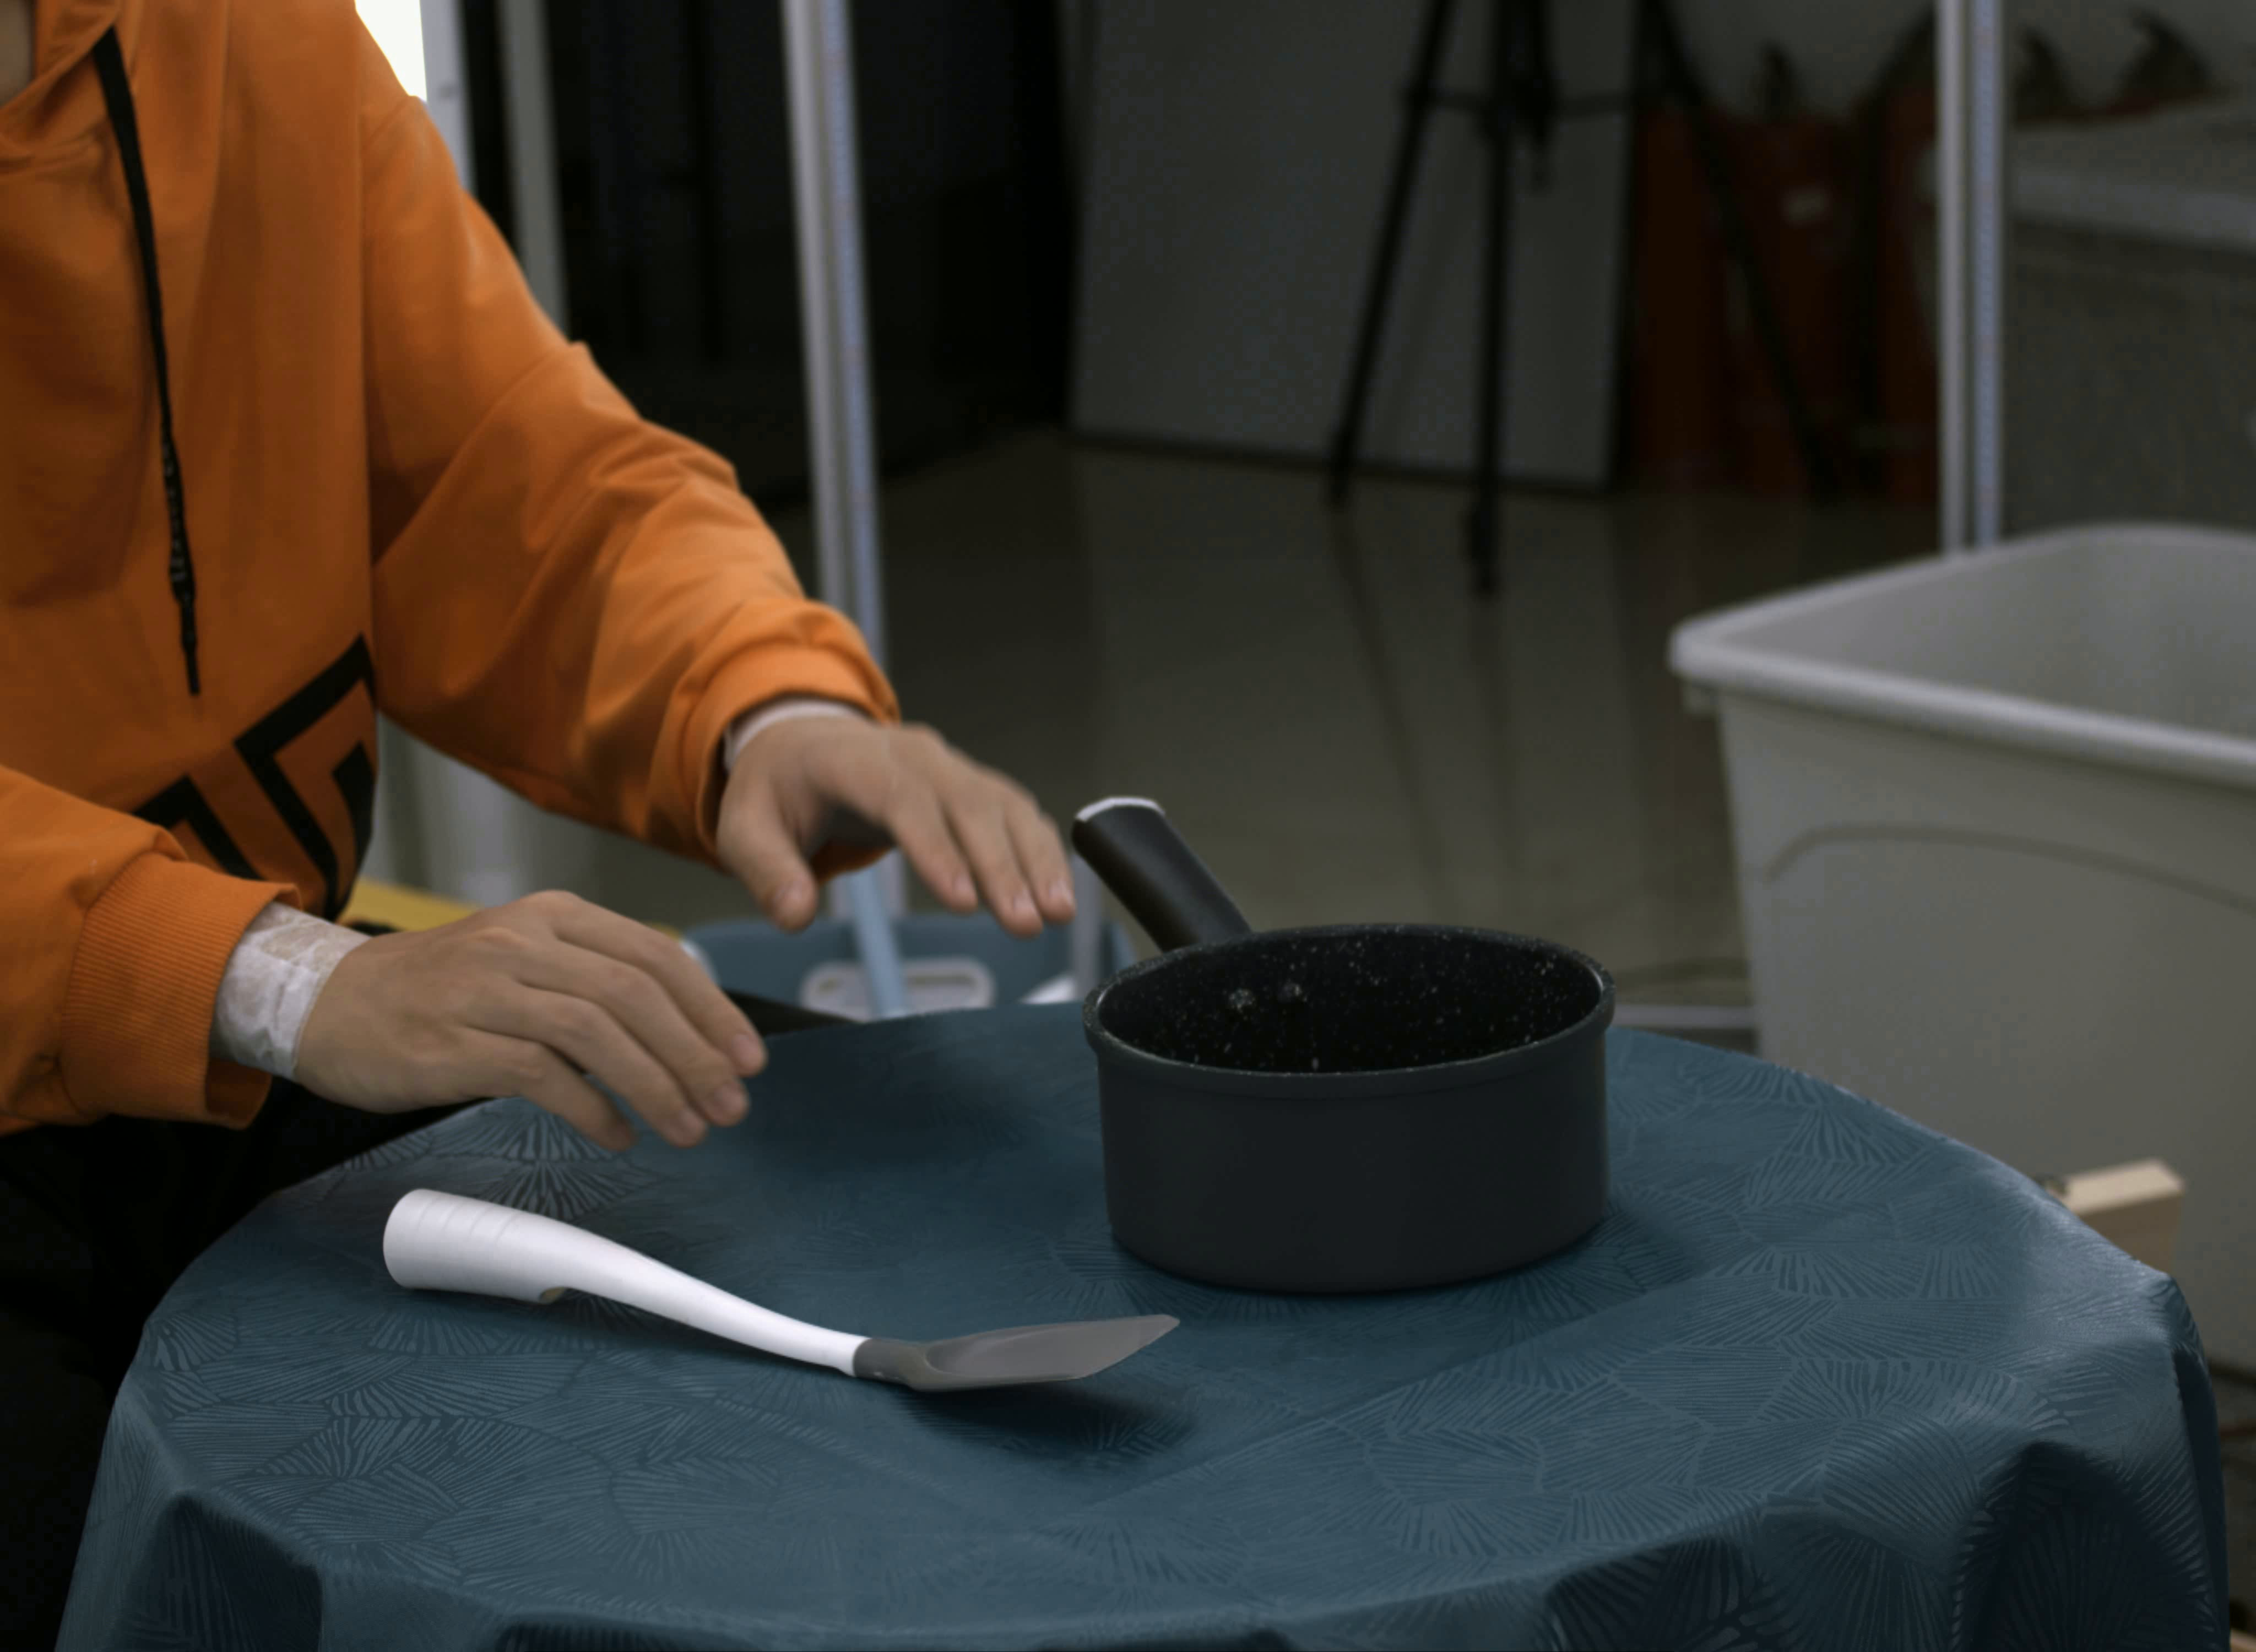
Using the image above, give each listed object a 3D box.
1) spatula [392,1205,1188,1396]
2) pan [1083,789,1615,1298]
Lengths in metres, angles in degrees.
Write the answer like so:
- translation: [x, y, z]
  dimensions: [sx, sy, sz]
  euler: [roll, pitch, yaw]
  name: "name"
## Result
- translation: [-0.107, 0.147, 1.632]
  dimensions: [0.289, 0.032, 0.057]
  euler: [5, 16, 37]
  name: "spatula"
- translation: [0.050, 0.068, 1.792]
  dimensions: [0.169, 0.087, 0.331]
  euler: [-7, 16, -14]
  name: "pan"
